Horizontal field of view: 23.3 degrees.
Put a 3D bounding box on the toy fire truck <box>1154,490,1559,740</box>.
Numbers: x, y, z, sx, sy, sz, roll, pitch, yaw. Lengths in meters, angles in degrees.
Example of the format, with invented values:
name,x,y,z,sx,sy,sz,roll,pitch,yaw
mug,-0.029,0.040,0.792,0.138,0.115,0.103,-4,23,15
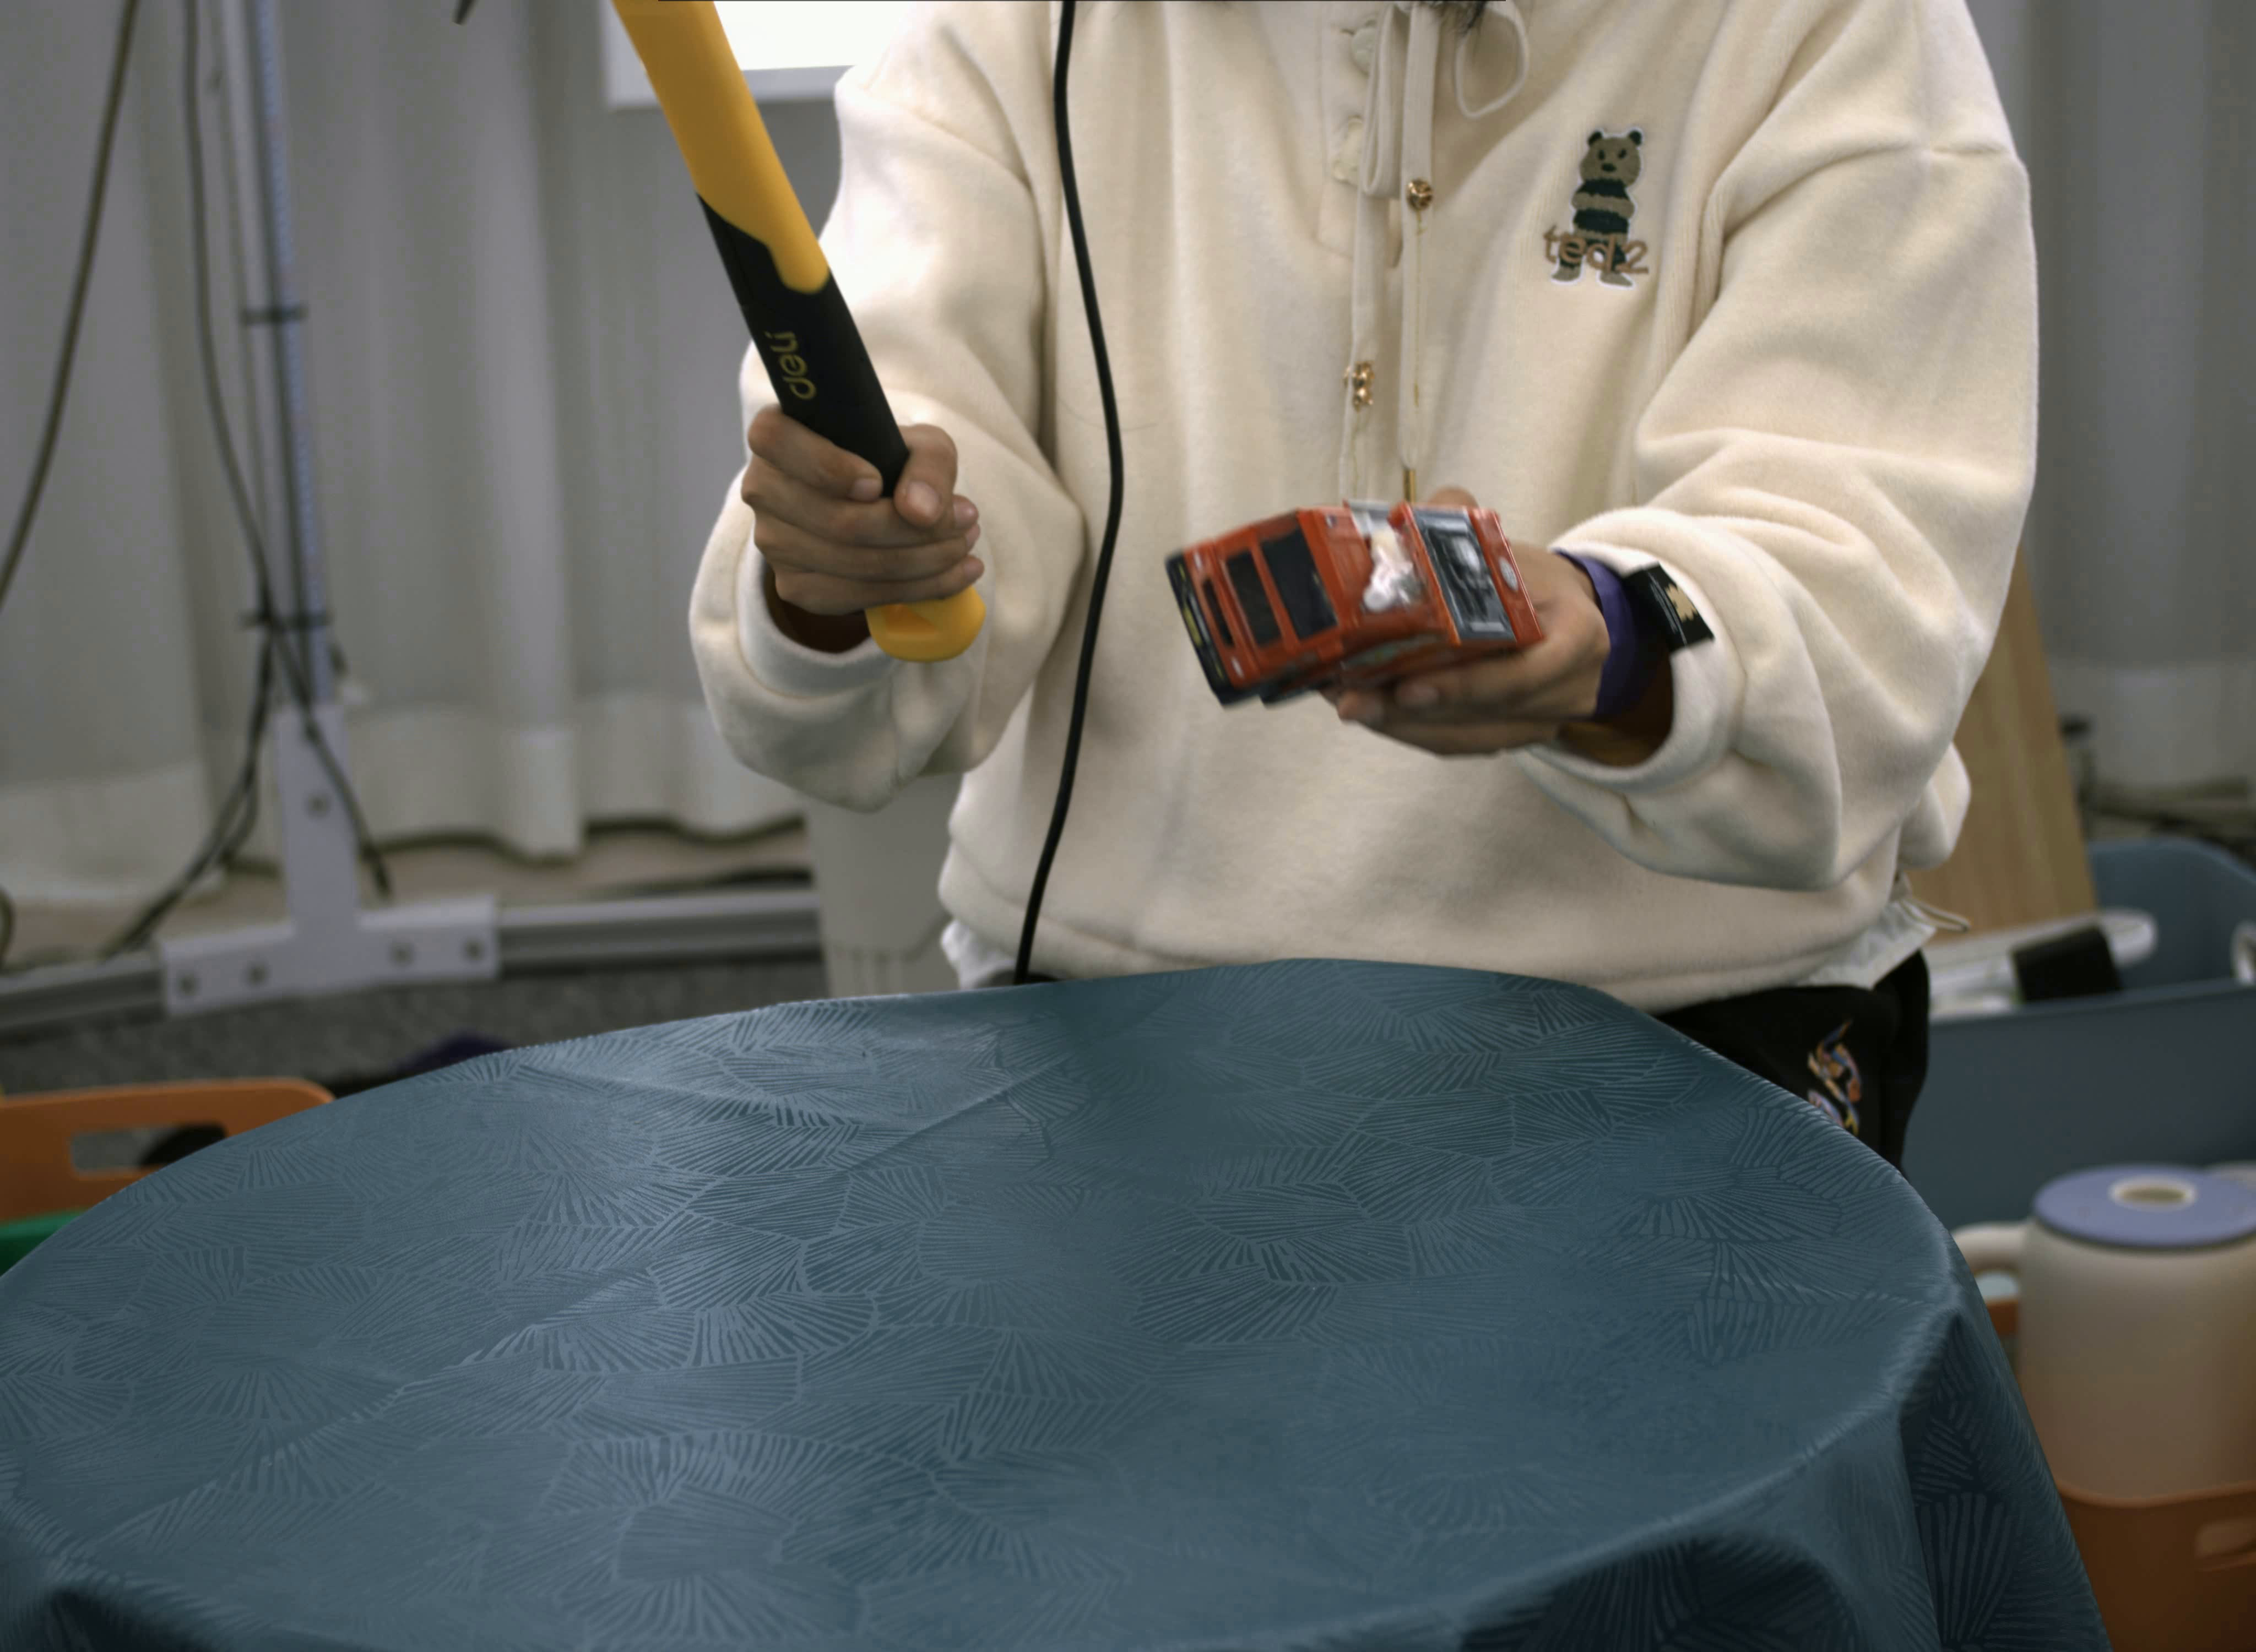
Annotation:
name,x,y,z,sx,sy,sz,roll,pitch,yaw
toy fire truck,0.070,-0.063,1.604,0.070,0.054,0.167,-24,-8,23

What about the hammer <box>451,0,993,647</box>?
name,x,y,z,sx,sy,sz,roll,pitch,yaw
hammer,-0.112,-0.182,1.742,0.131,0.334,0.032,1,48,25
